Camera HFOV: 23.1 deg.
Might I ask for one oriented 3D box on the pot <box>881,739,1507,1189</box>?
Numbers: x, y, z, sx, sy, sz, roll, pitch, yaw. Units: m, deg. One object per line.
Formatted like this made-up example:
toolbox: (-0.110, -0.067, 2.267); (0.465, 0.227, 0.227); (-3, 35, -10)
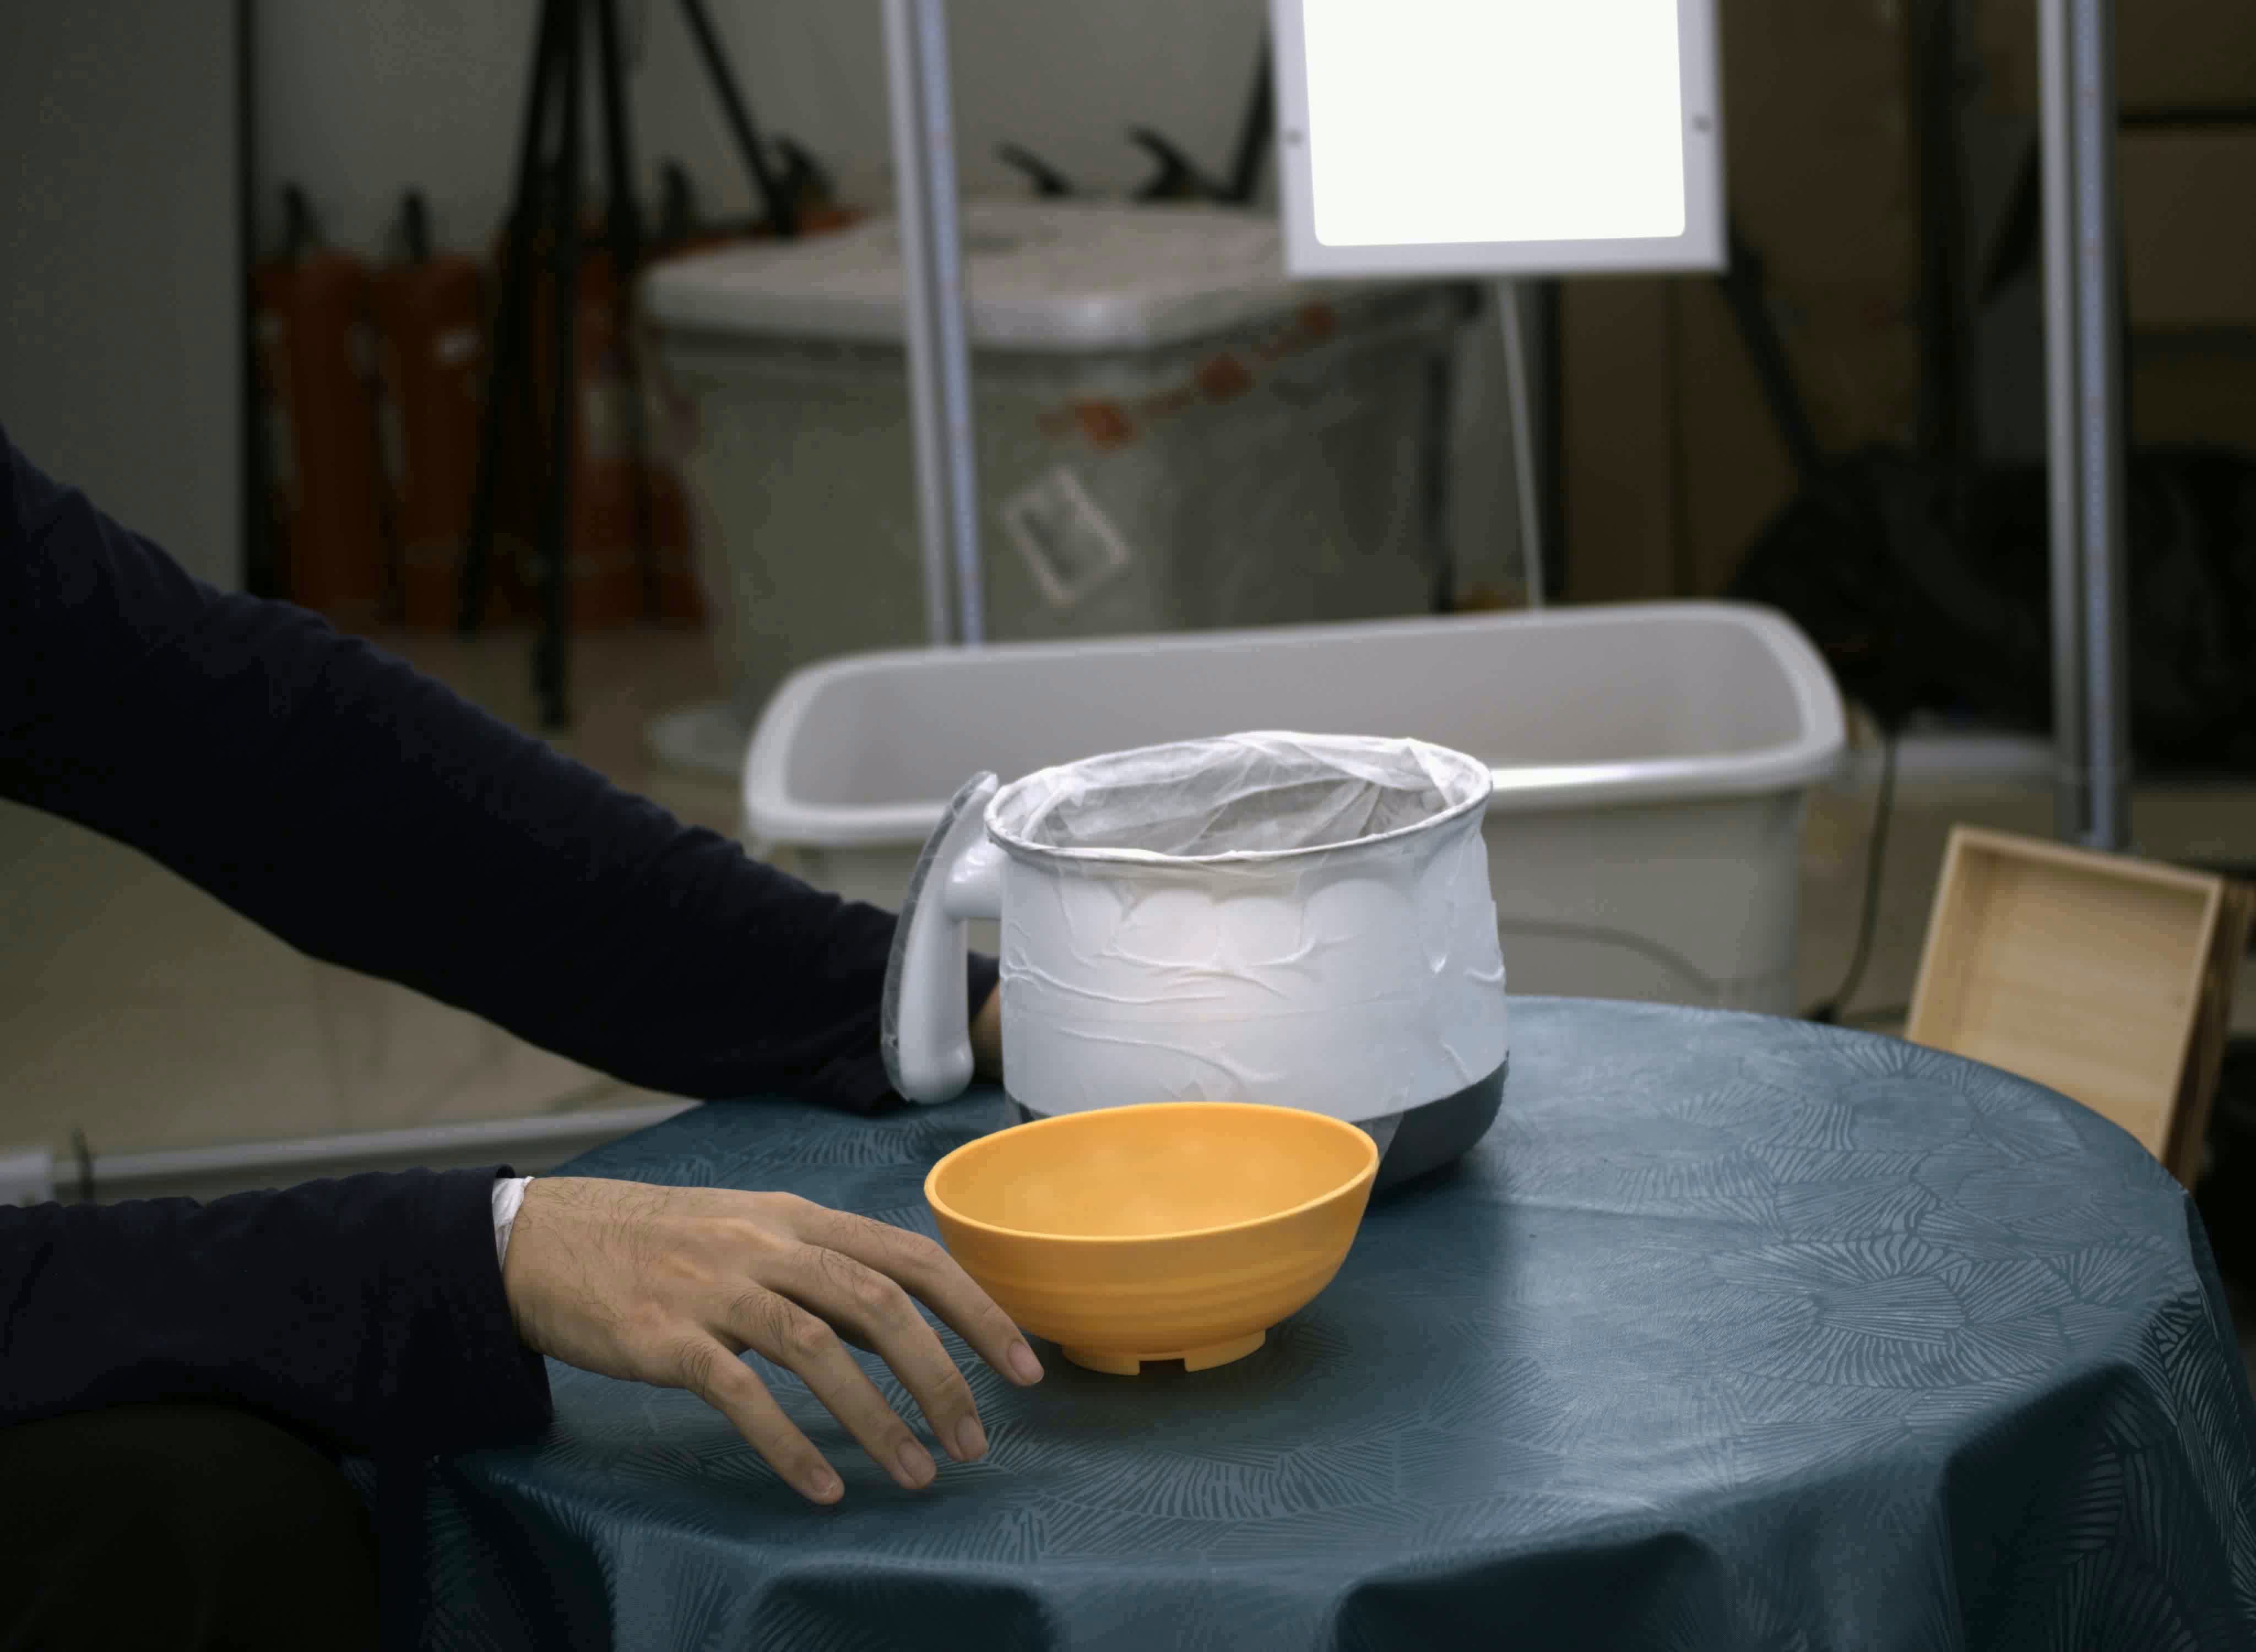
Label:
pot: (0.018, 0.048, 1.925); (0.237, 0.137, 0.175); (3, 13, 26)

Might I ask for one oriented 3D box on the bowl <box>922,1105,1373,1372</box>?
bowl: (0.008, 0.134, 1.738); (0.145, 0.060, 0.145); (-4, 13, -1)
